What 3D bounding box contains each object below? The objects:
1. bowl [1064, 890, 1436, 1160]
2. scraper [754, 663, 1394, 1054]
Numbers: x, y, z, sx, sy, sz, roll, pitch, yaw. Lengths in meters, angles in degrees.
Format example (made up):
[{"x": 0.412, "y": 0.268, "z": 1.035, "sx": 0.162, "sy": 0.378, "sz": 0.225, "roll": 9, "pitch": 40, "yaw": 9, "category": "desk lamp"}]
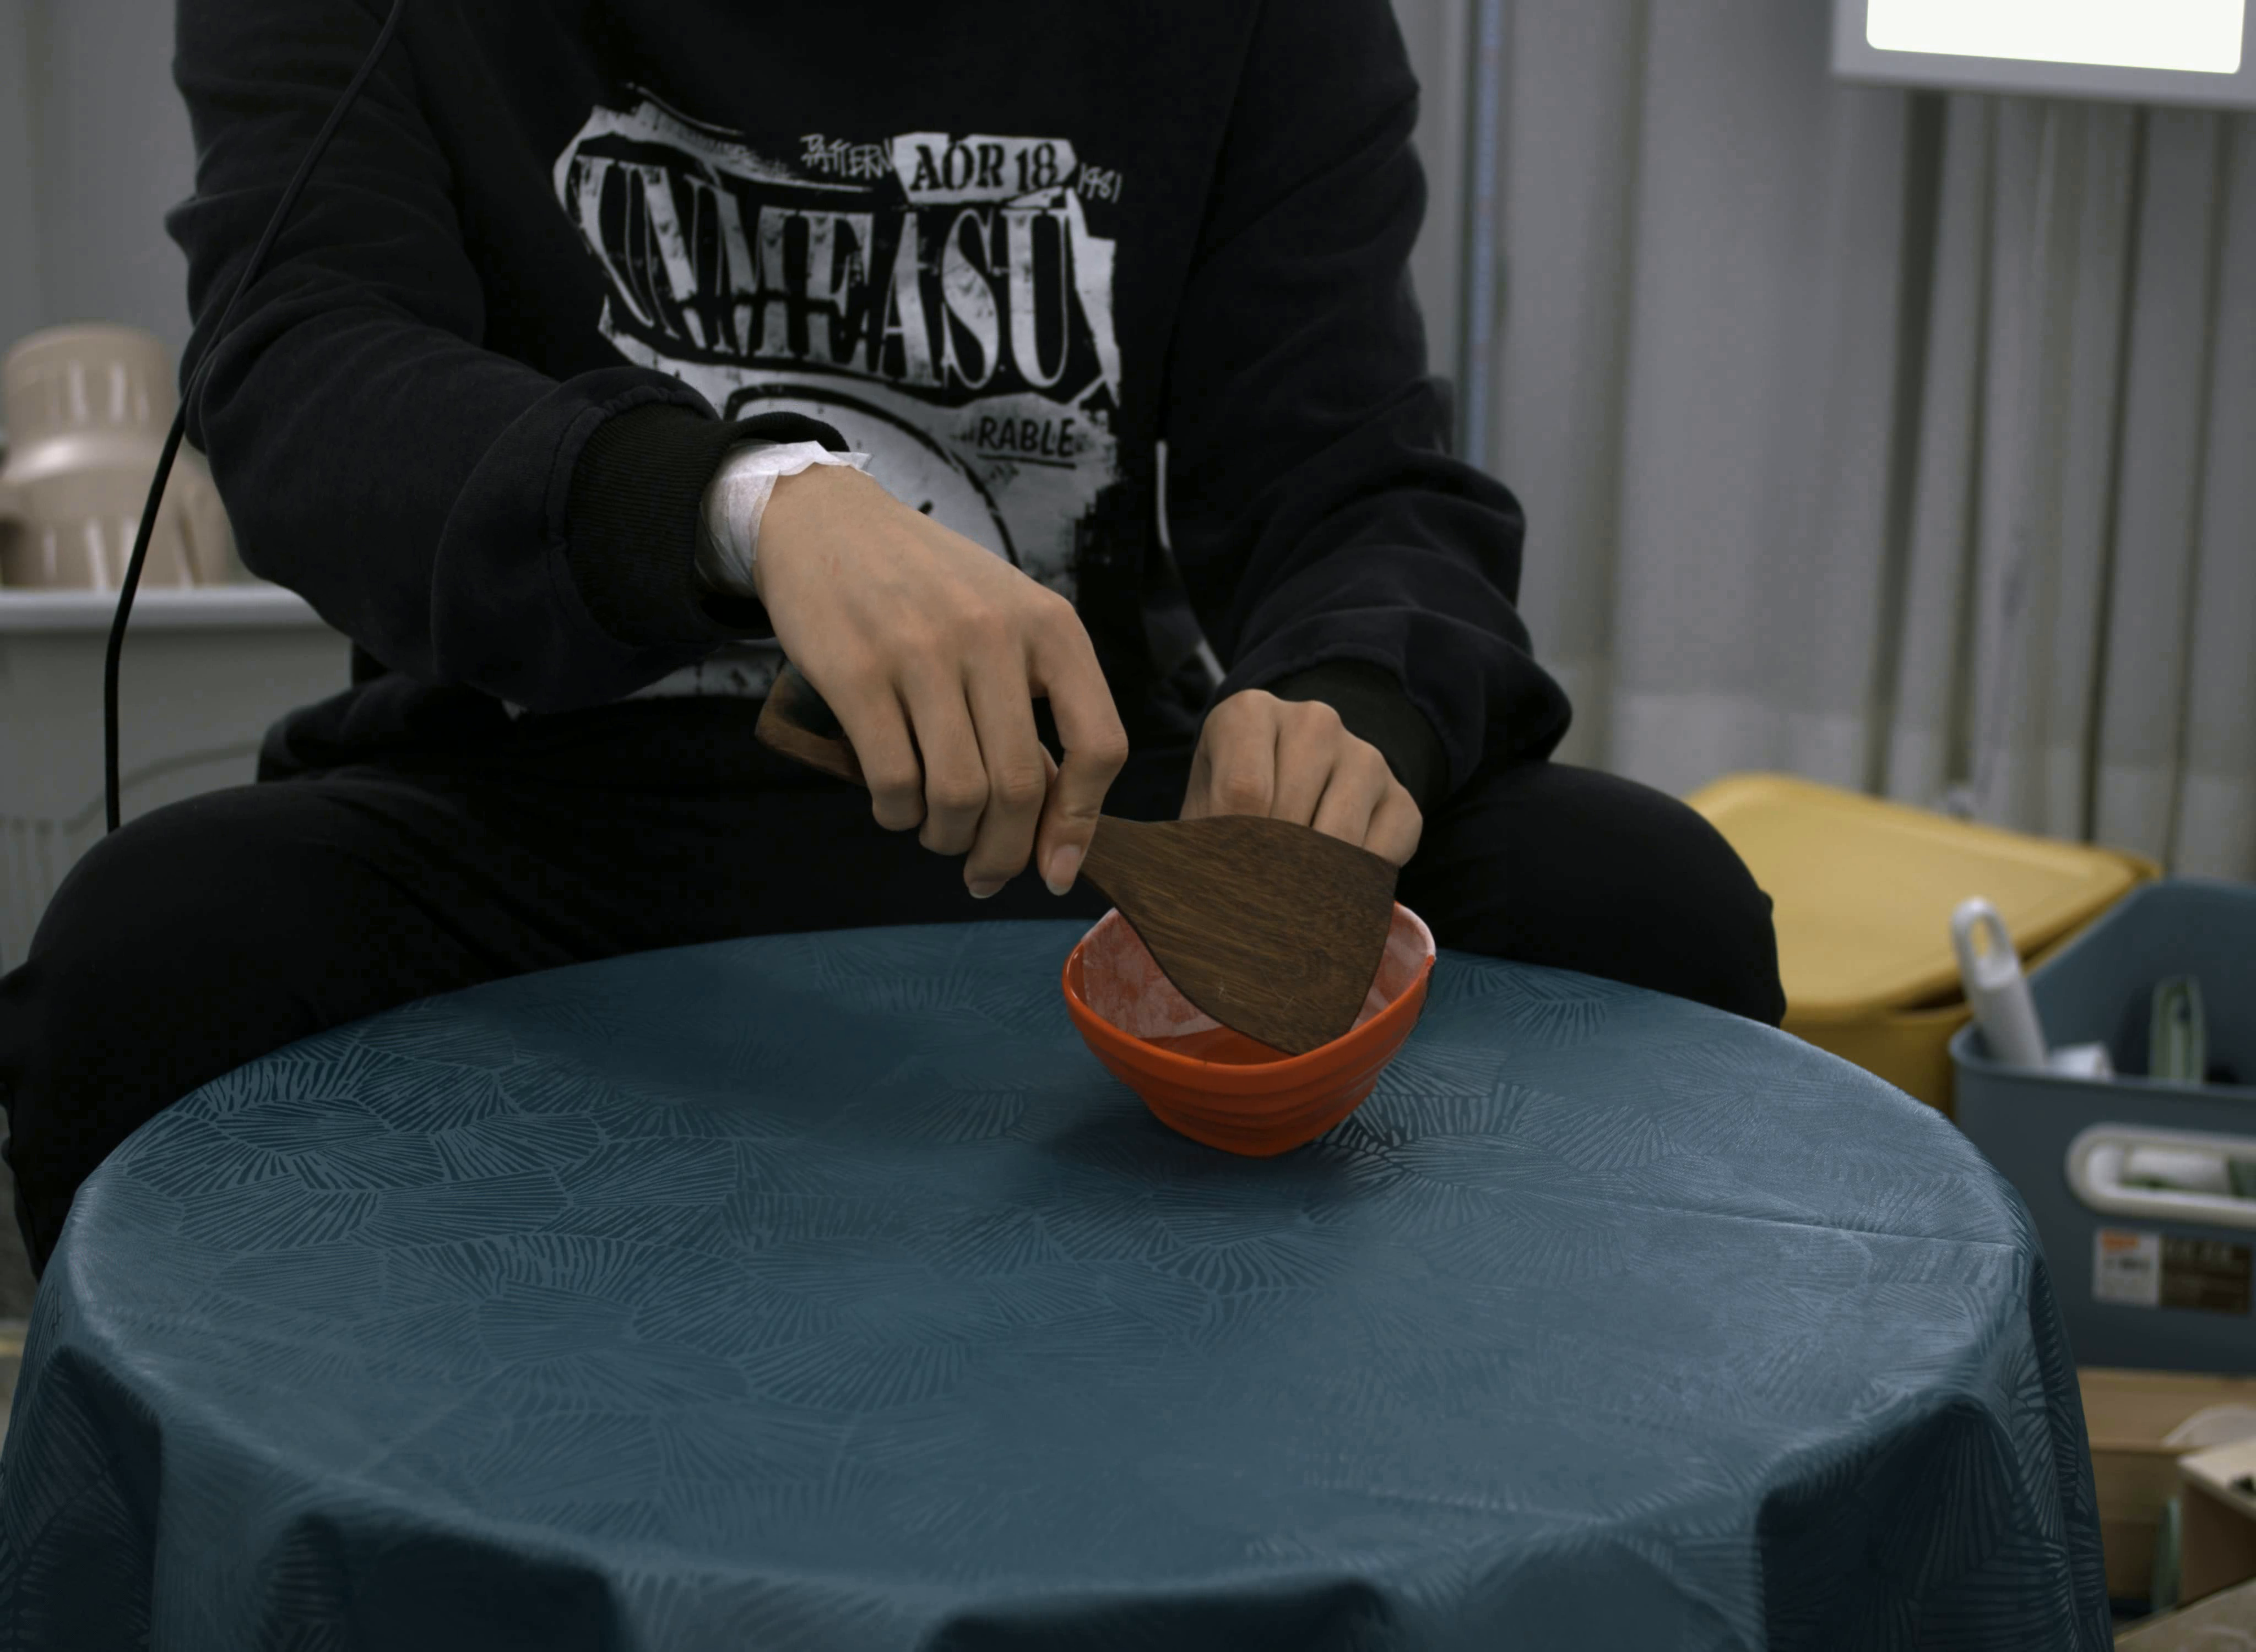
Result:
[{"x": 0.041, "y": 0.063, "z": 1.676, "sx": 0.118, "sy": 0.052, "sz": 0.118, "roll": -4, "pitch": 34, "yaw": 3, "category": "bowl"}, {"x": -0.018, "y": 0.002, "z": 1.643, "sx": 0.211, "sy": 0.075, "sz": 0.011, "roll": 25, "pitch": -21, "yaw": -9, "category": "scraper"}]
